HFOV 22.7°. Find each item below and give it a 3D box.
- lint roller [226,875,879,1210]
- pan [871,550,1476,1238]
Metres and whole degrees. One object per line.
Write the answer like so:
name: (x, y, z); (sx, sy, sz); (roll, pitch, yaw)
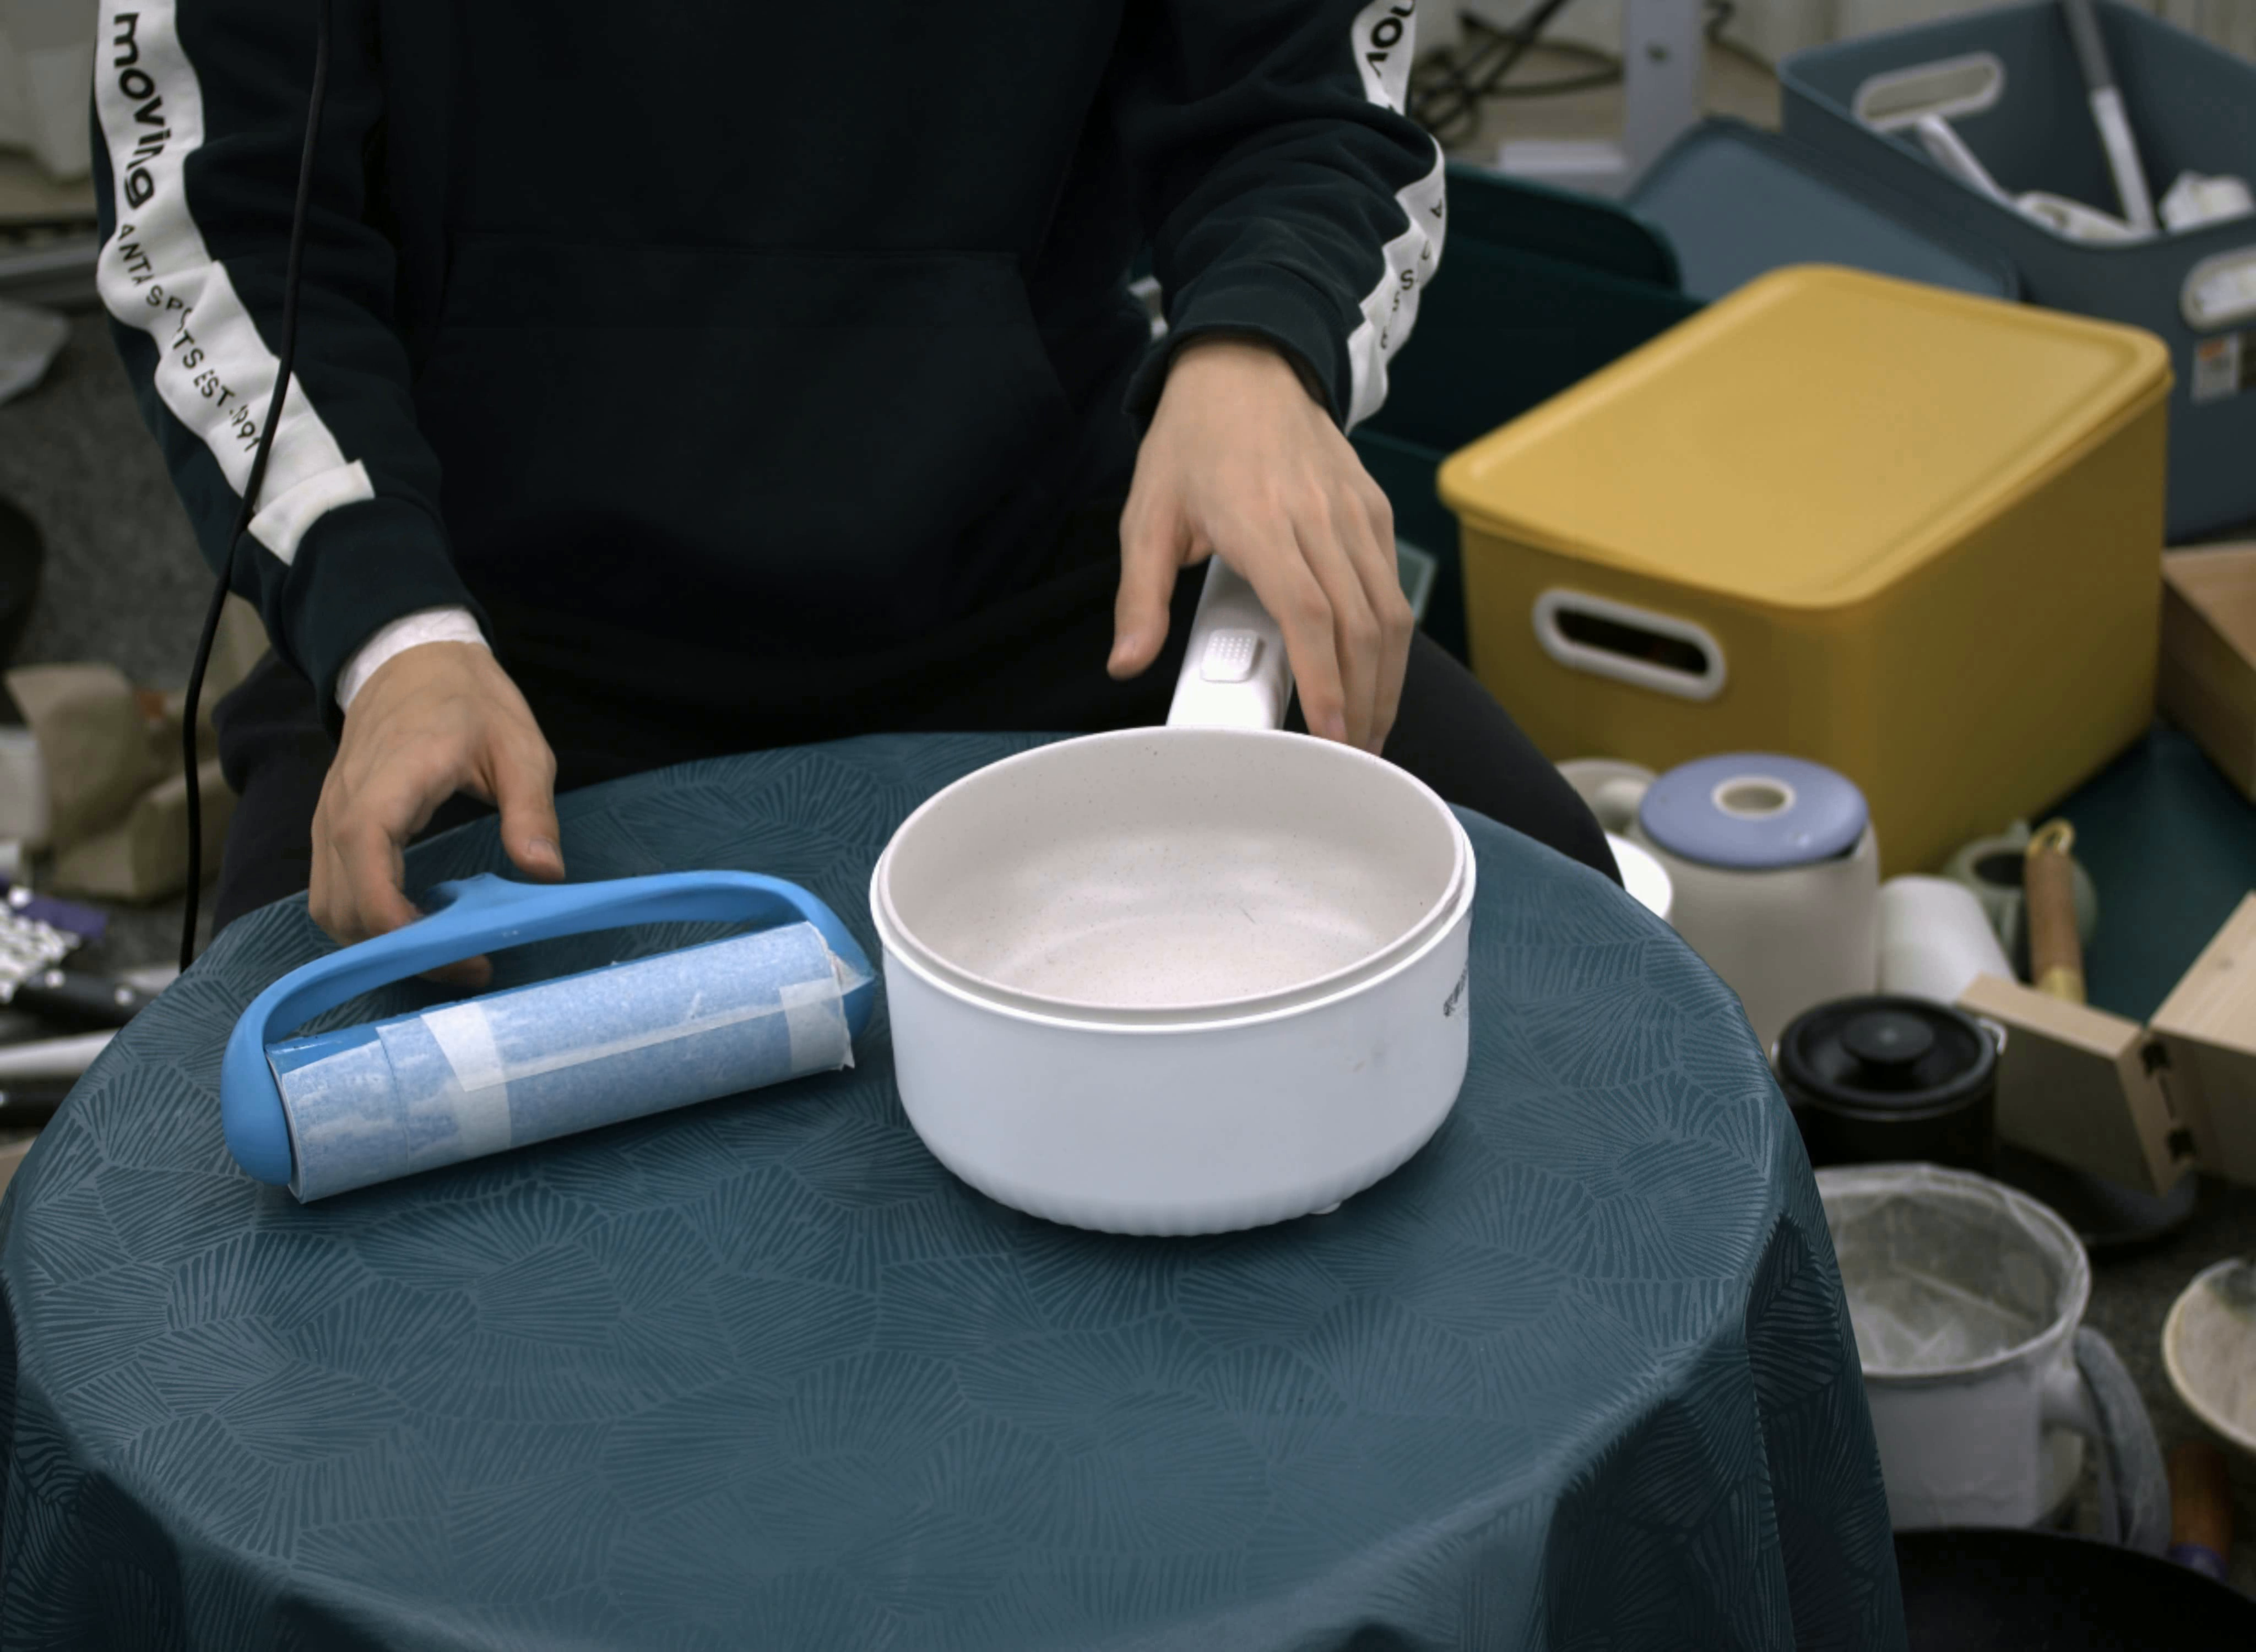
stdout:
lint roller: (-0.218, 0.055, 1.949); (0.230, 0.067, 0.181); (-16, 31, -21)
pan: (0.029, 0.021, 1.946); (0.200, 0.101, 0.360); (1, 27, 9)
